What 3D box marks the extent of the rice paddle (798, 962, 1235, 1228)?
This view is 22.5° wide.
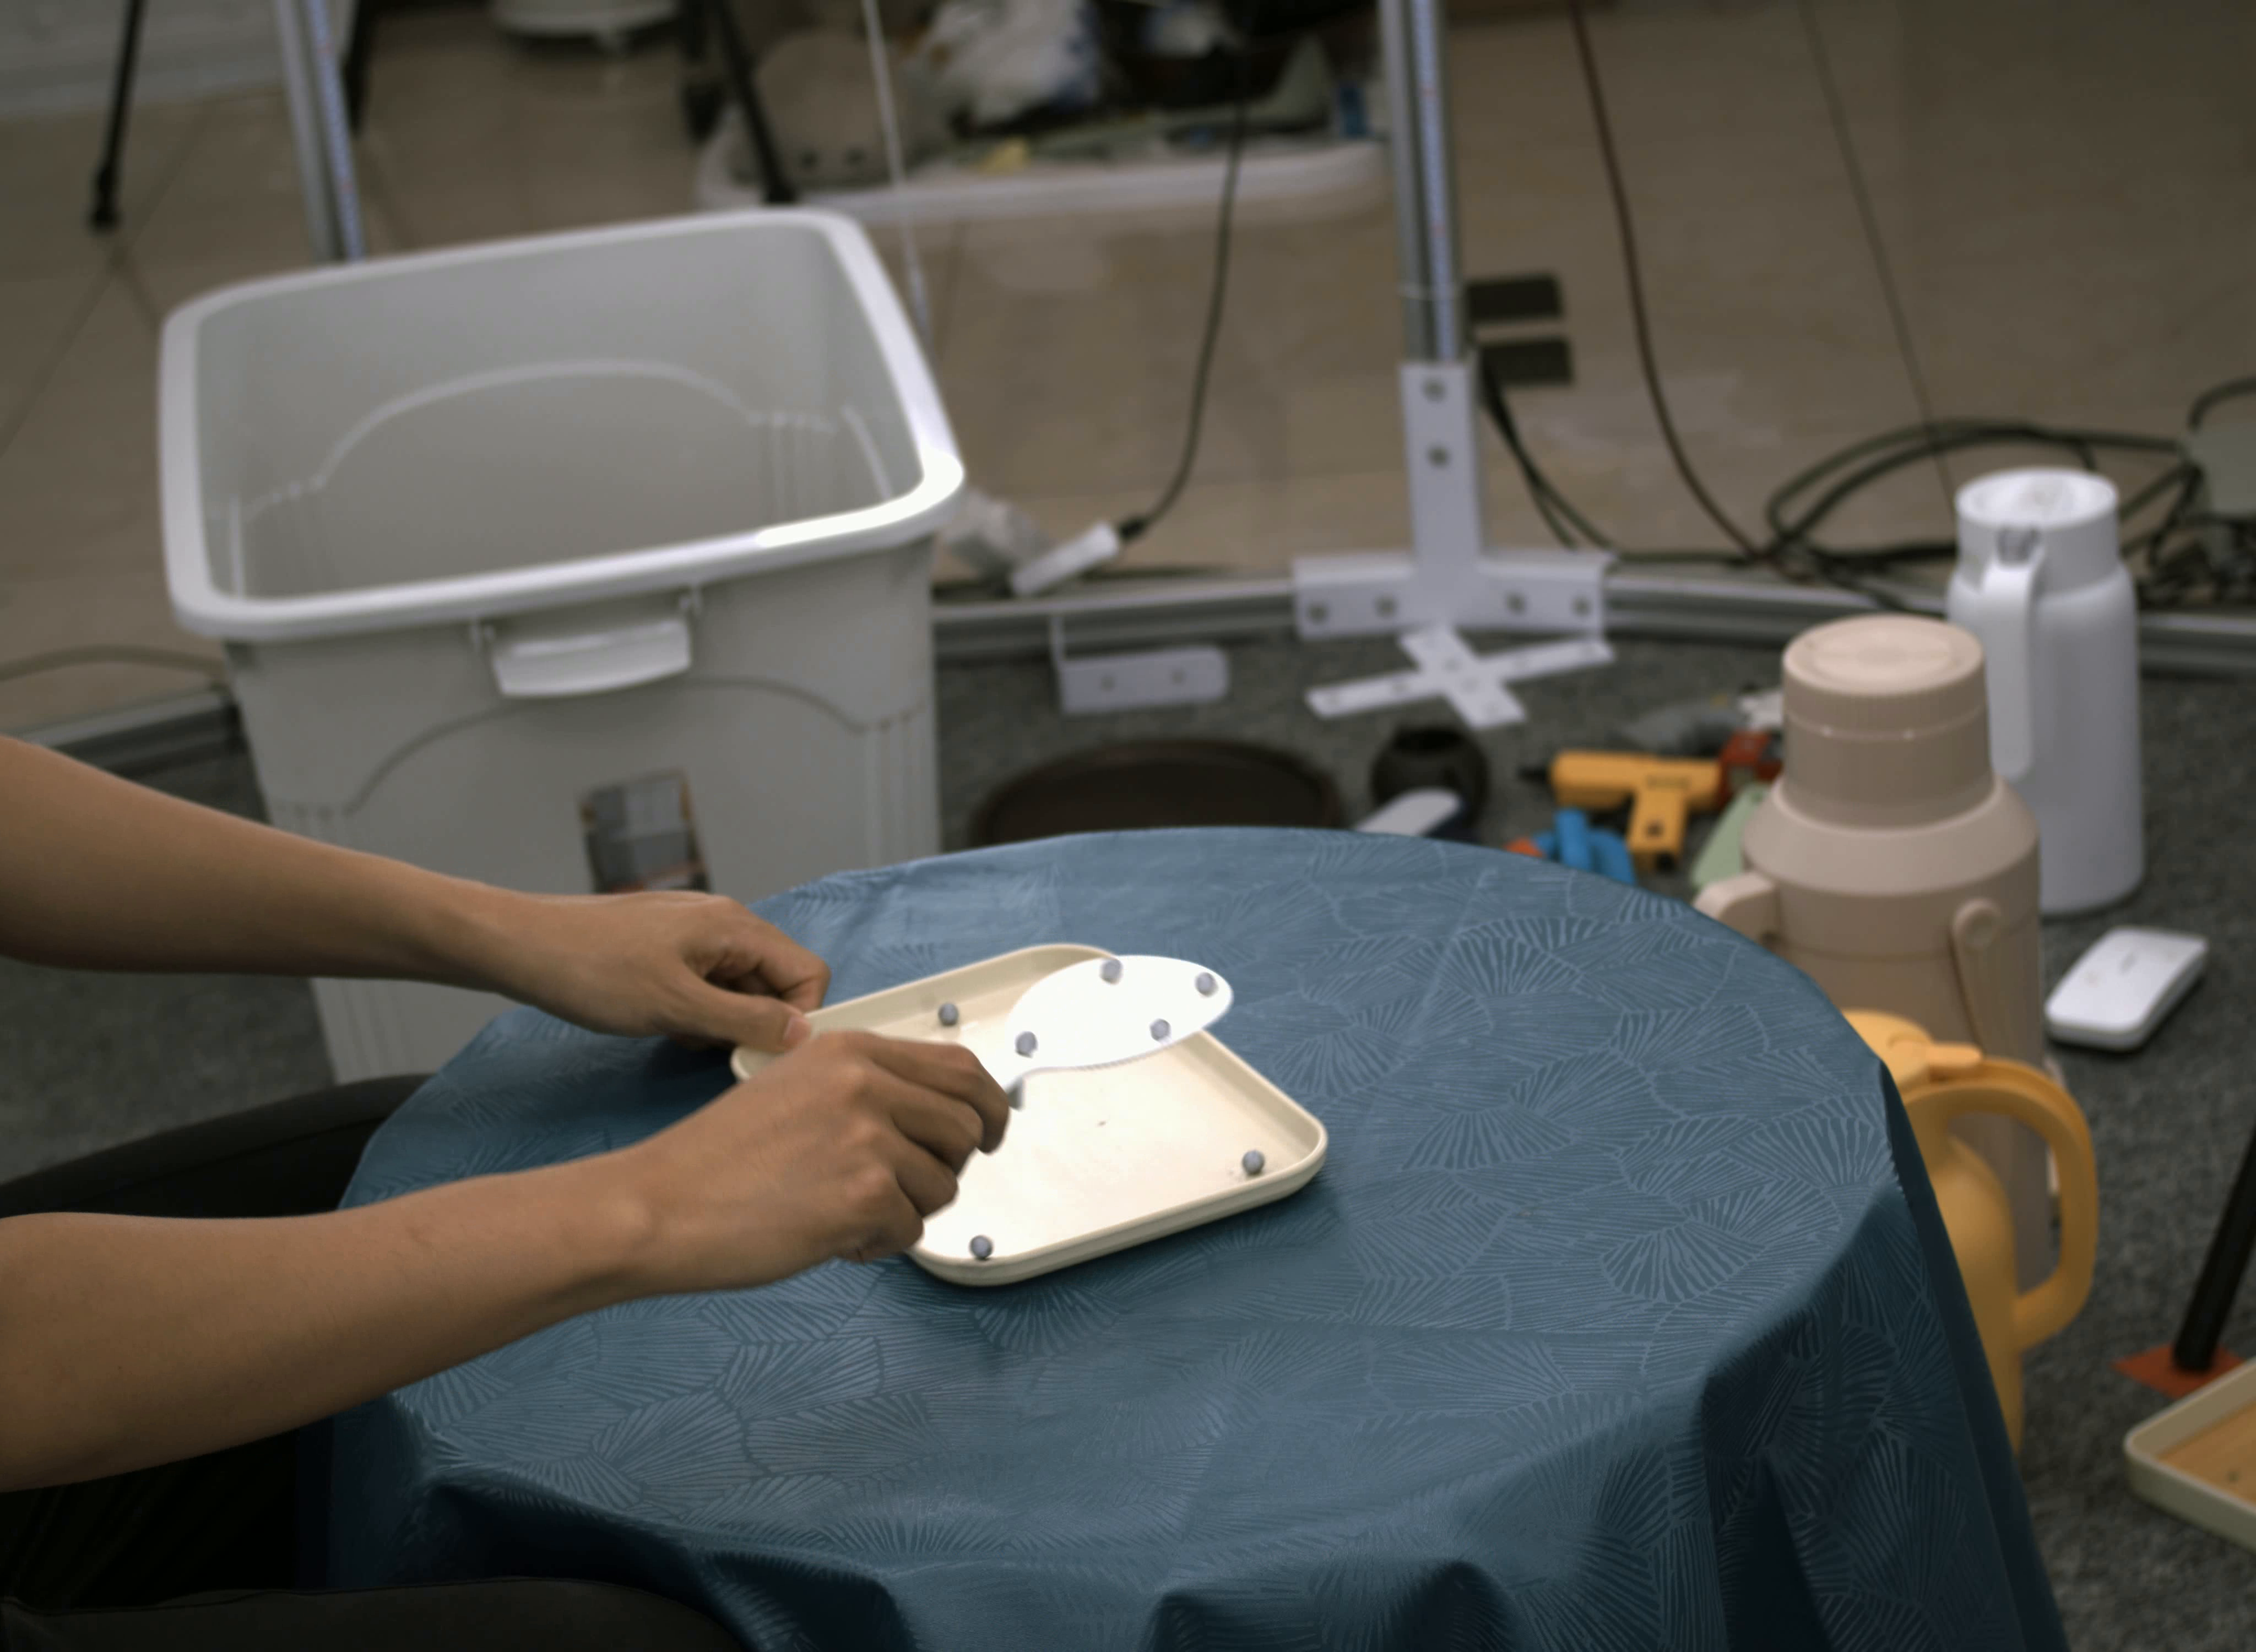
[{"bbox_3d":[-0.037,0.088,2.017,0.068,0.030,0.203,21,35,35],"label":"rice paddle"}]

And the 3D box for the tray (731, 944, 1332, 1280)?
[{"bbox_3d":[-0.040,0.110,2.203,0.170,0.018,0.237,-16,26,-22],"label":"tray"}]
